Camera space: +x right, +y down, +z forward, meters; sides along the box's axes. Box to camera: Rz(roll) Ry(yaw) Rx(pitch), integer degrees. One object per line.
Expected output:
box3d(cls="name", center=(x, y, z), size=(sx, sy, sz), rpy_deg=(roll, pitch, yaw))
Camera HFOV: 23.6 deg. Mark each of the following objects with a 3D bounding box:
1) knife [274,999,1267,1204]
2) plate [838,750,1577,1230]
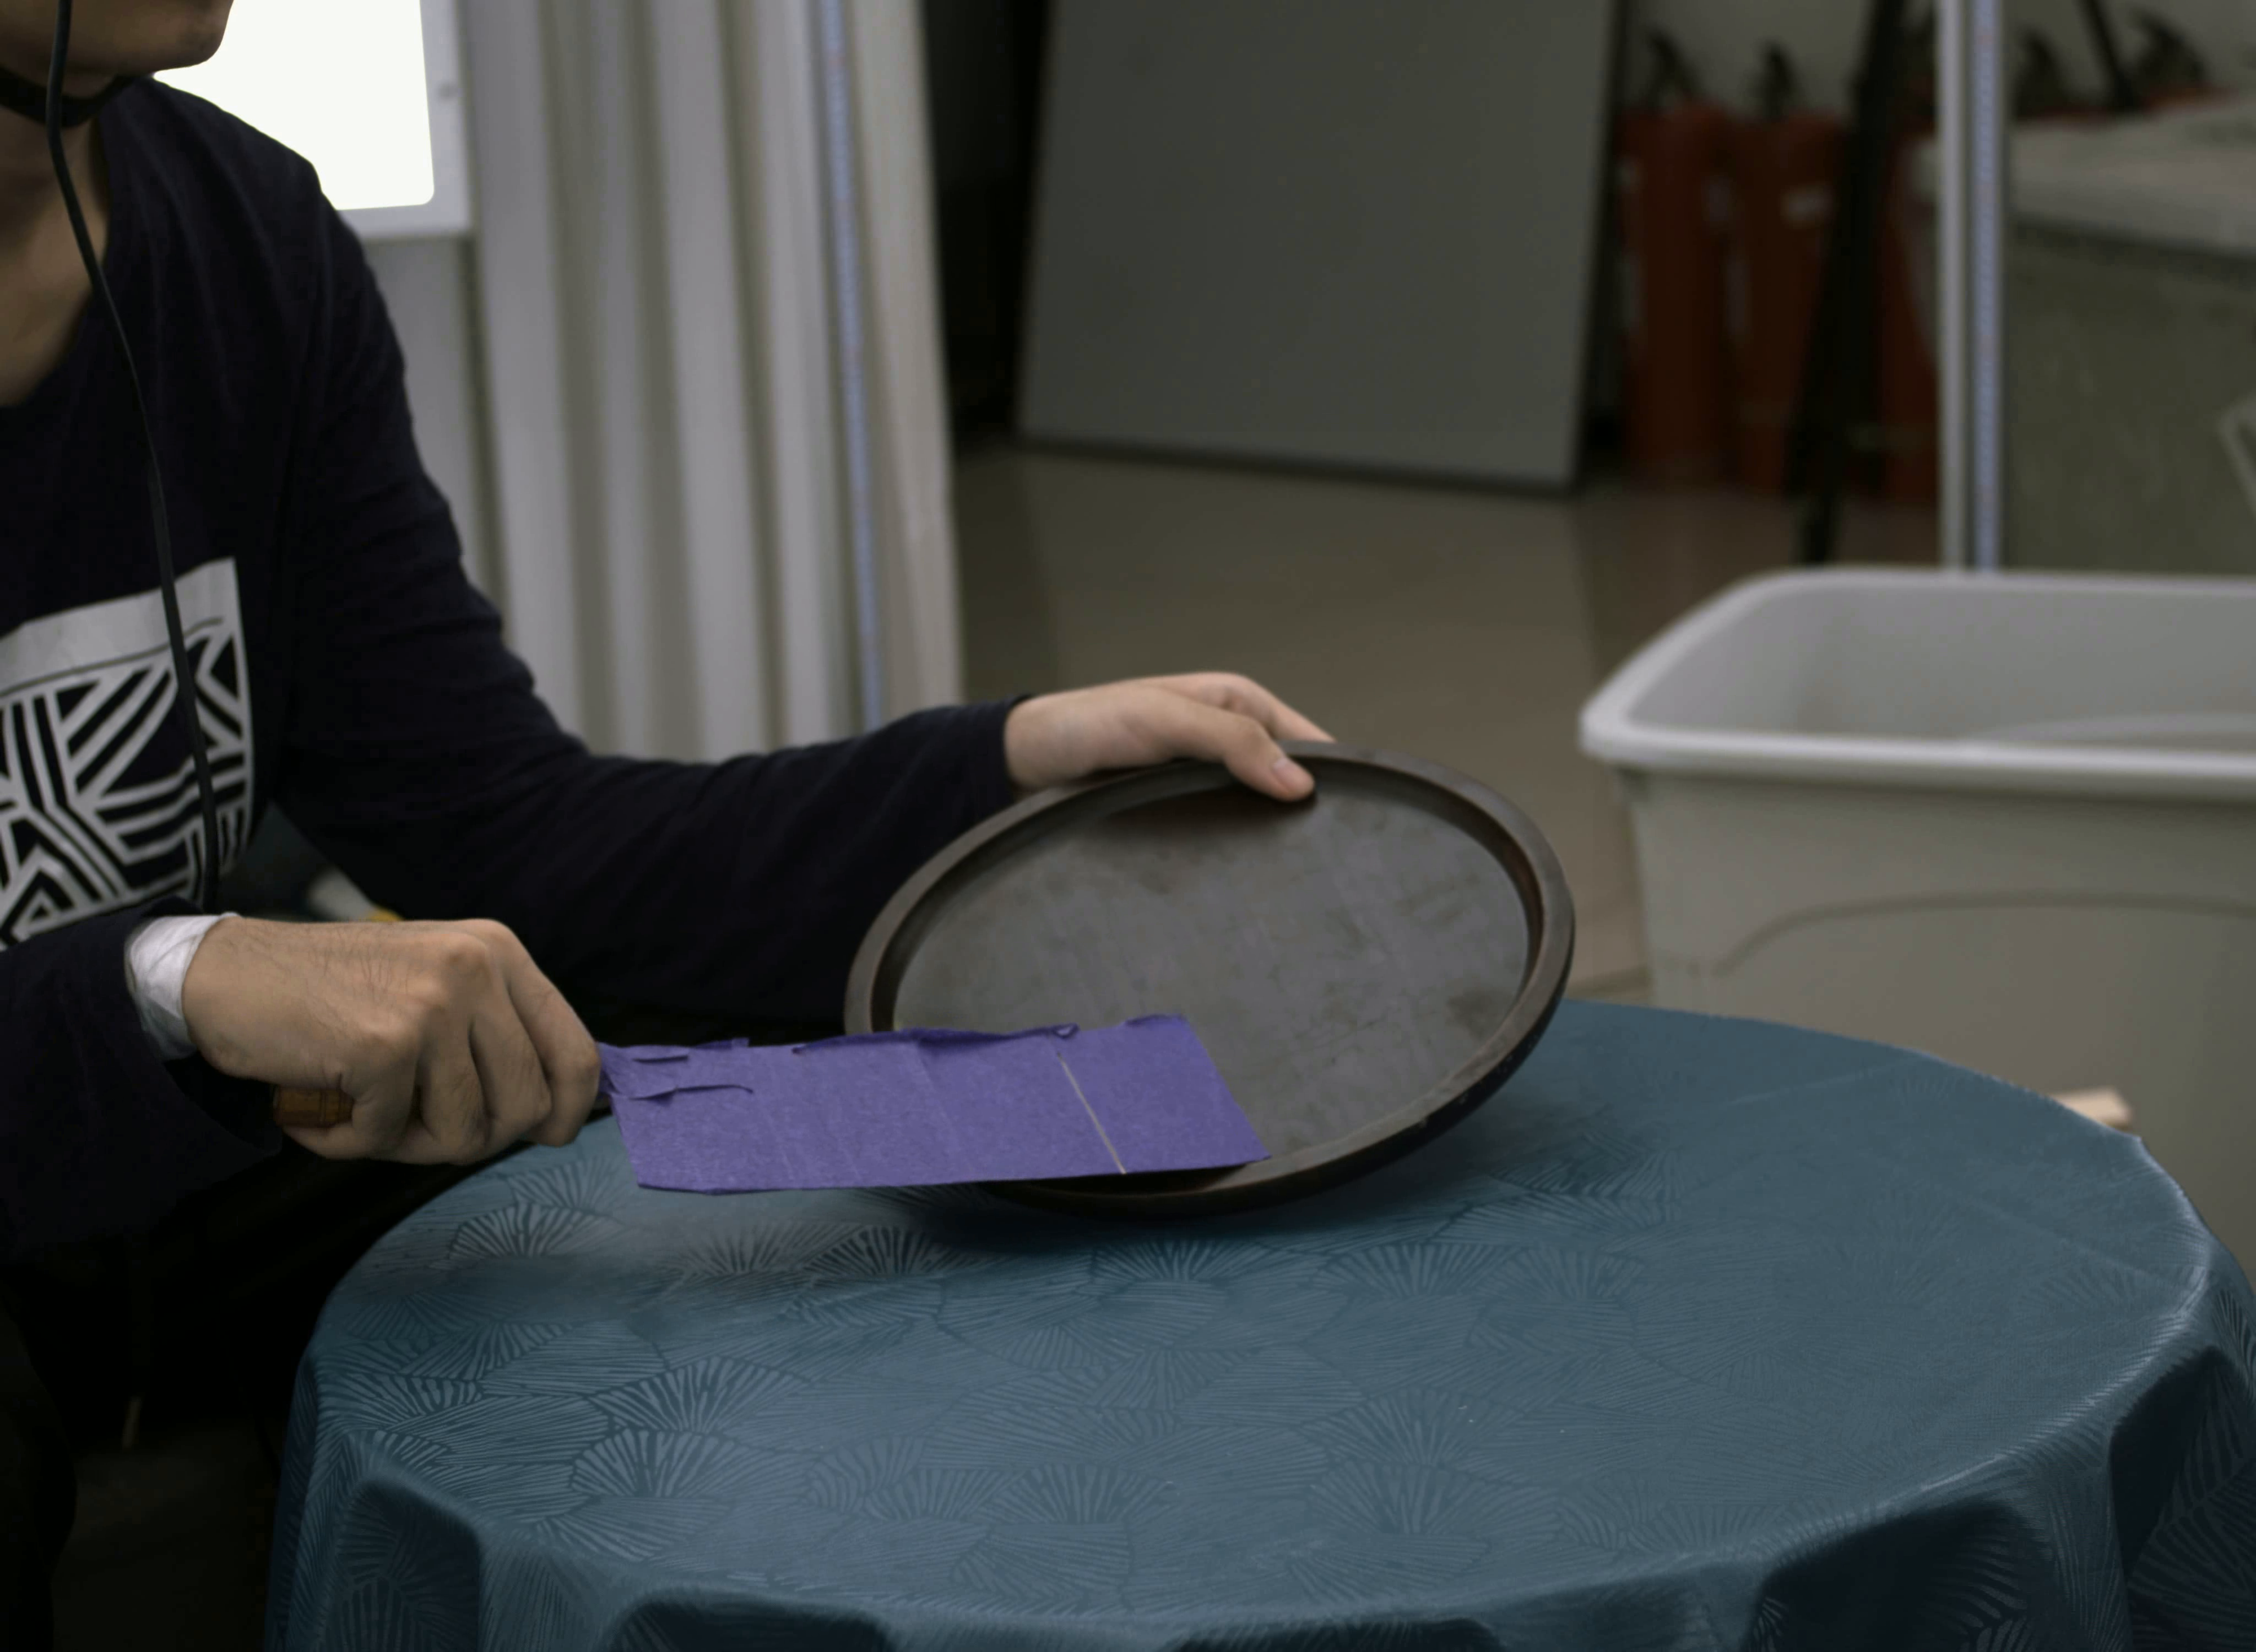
box3d(cls="knife", center=(-0.112, 0.089, 1.725), size=(0.309, 0.032, 0.105), rpy_deg=(-5, 27, -14))
box3d(cls="plate", center=(0.028, 0.053, 1.823), size=(0.252, 0.029, 0.256), rpy_deg=(-9, 35, 5))
